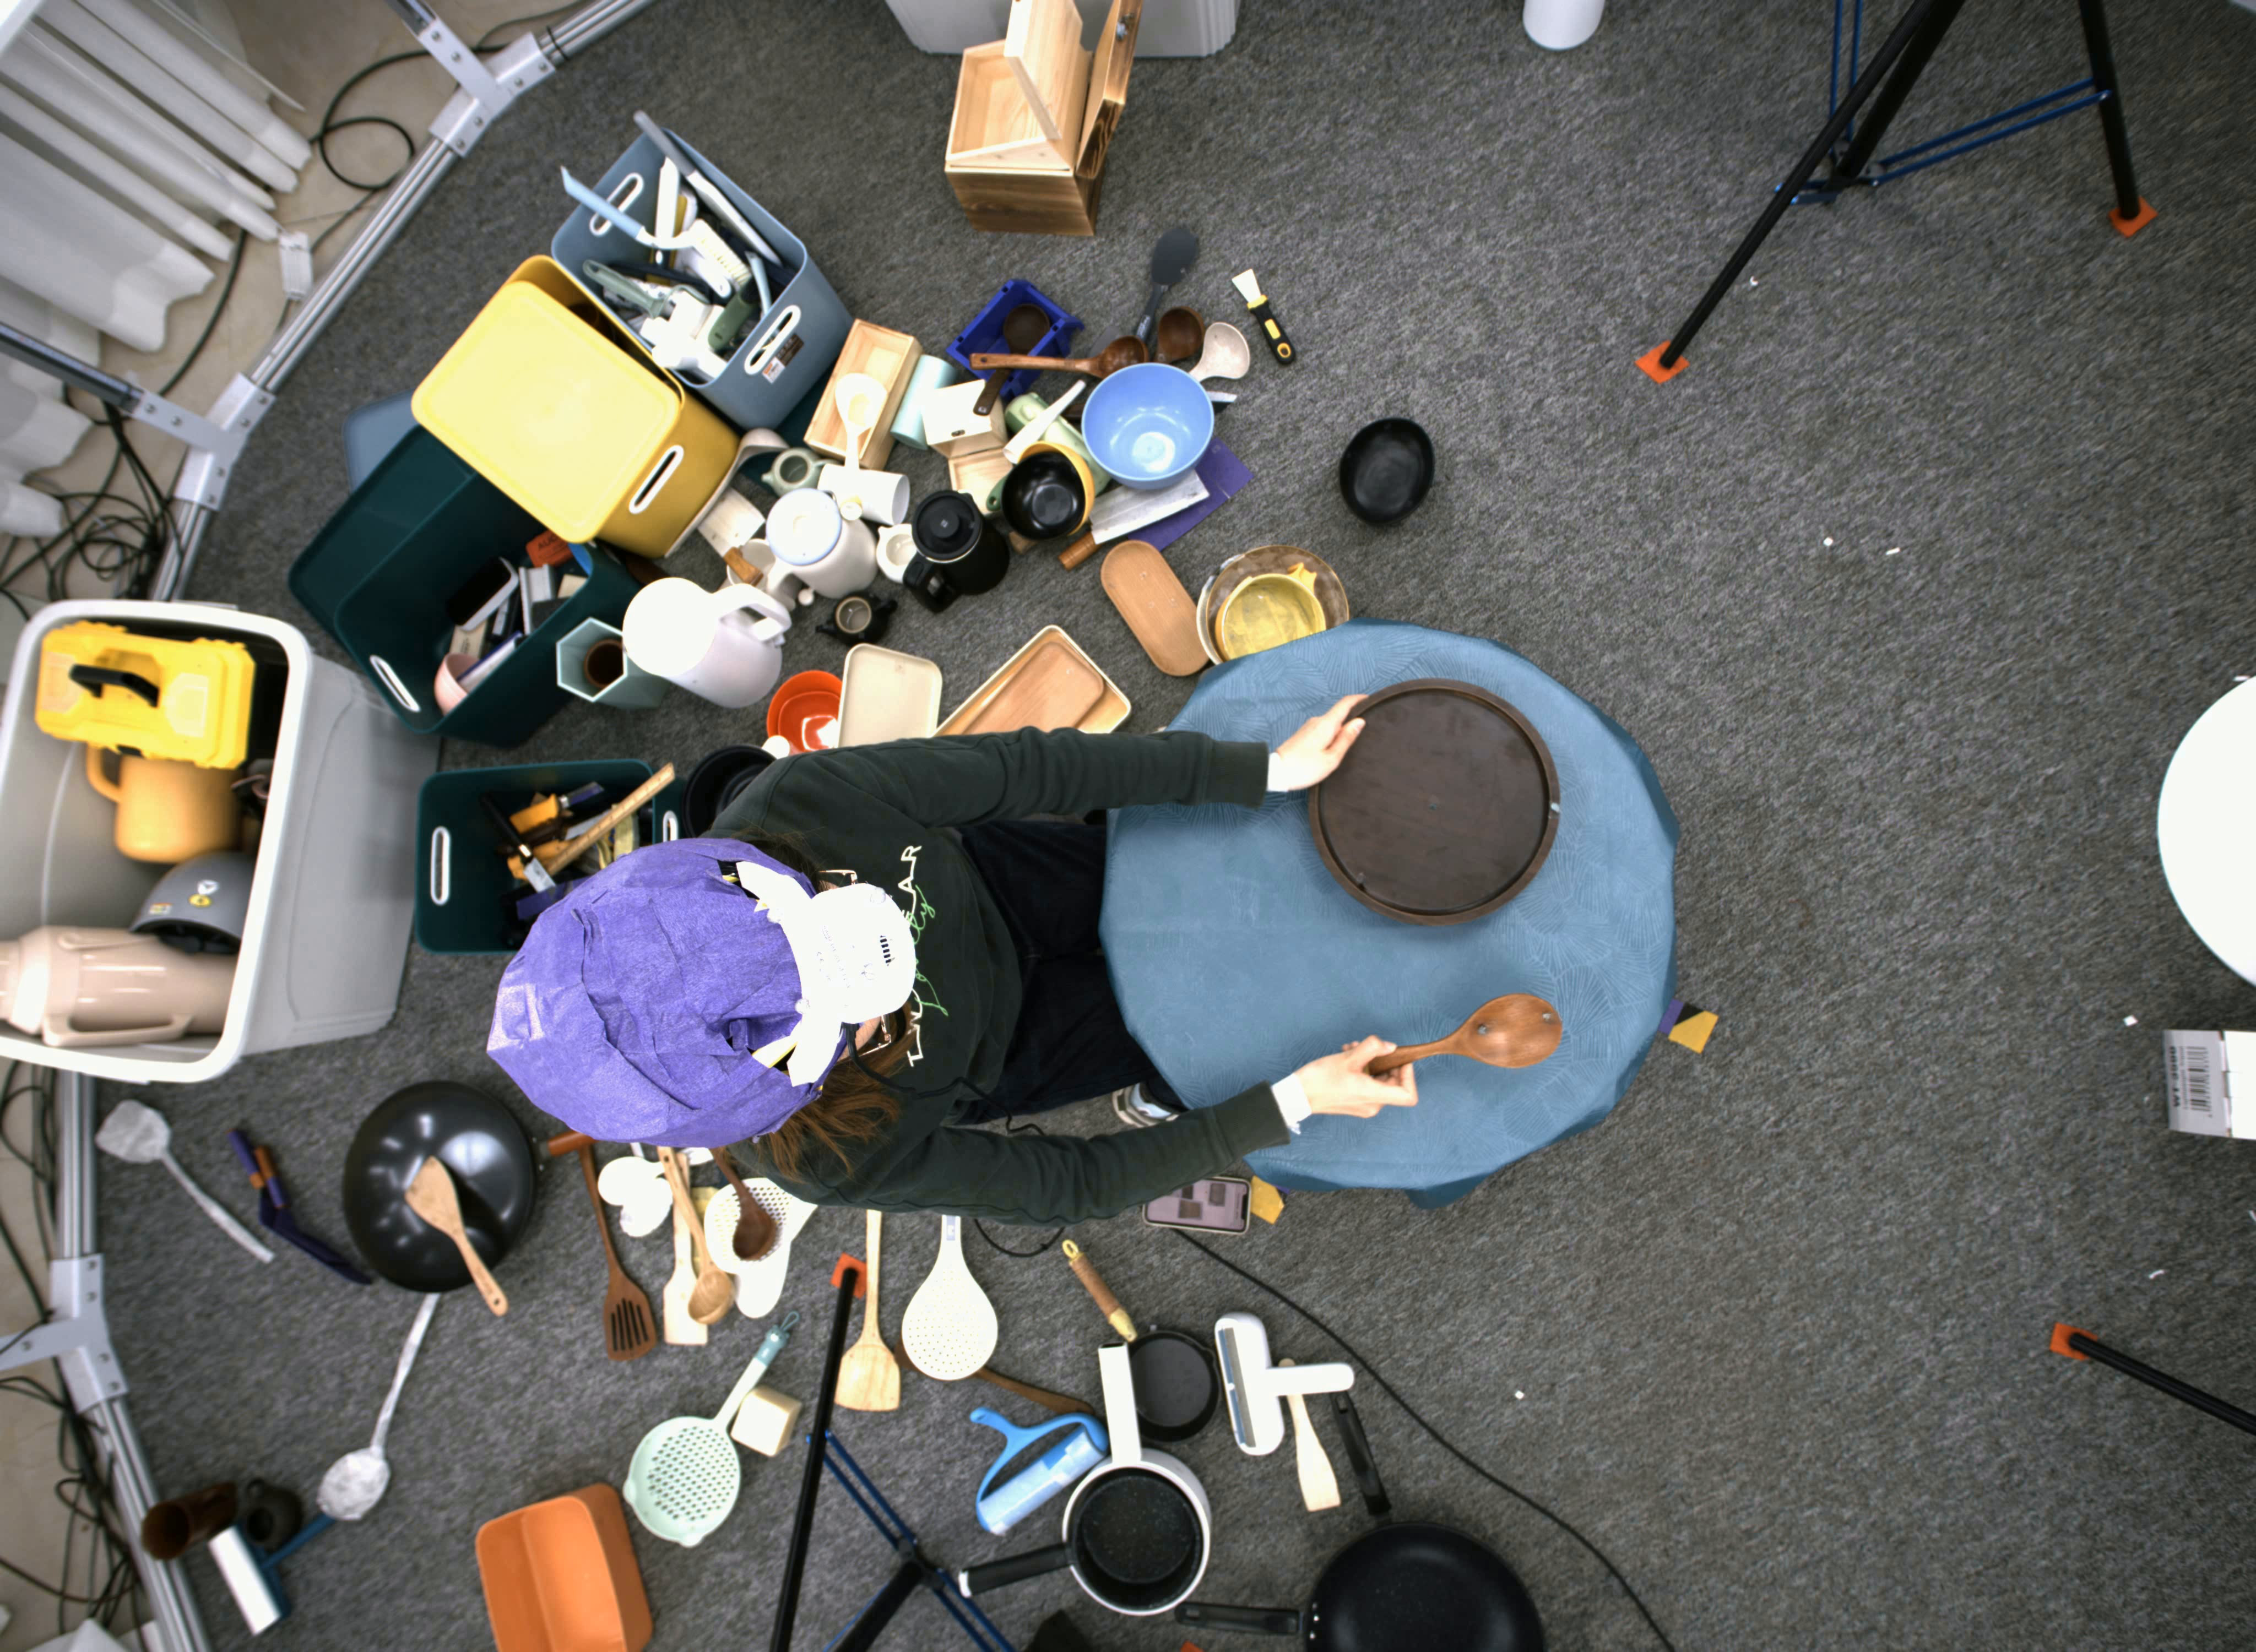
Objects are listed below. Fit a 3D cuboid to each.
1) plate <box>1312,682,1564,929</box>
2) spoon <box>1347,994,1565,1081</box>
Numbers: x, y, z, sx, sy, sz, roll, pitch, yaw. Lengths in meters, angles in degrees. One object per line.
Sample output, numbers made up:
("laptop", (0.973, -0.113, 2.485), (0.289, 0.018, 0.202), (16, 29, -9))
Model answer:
("plate", (0.315, -0.023, 1.409), (0.256, 0.029, 0.254), (0, 89, 9))
("spoon", (0.319, 0.214, 1.355), (0.218, 0.017, 0.076), (-17, 99, 17))
